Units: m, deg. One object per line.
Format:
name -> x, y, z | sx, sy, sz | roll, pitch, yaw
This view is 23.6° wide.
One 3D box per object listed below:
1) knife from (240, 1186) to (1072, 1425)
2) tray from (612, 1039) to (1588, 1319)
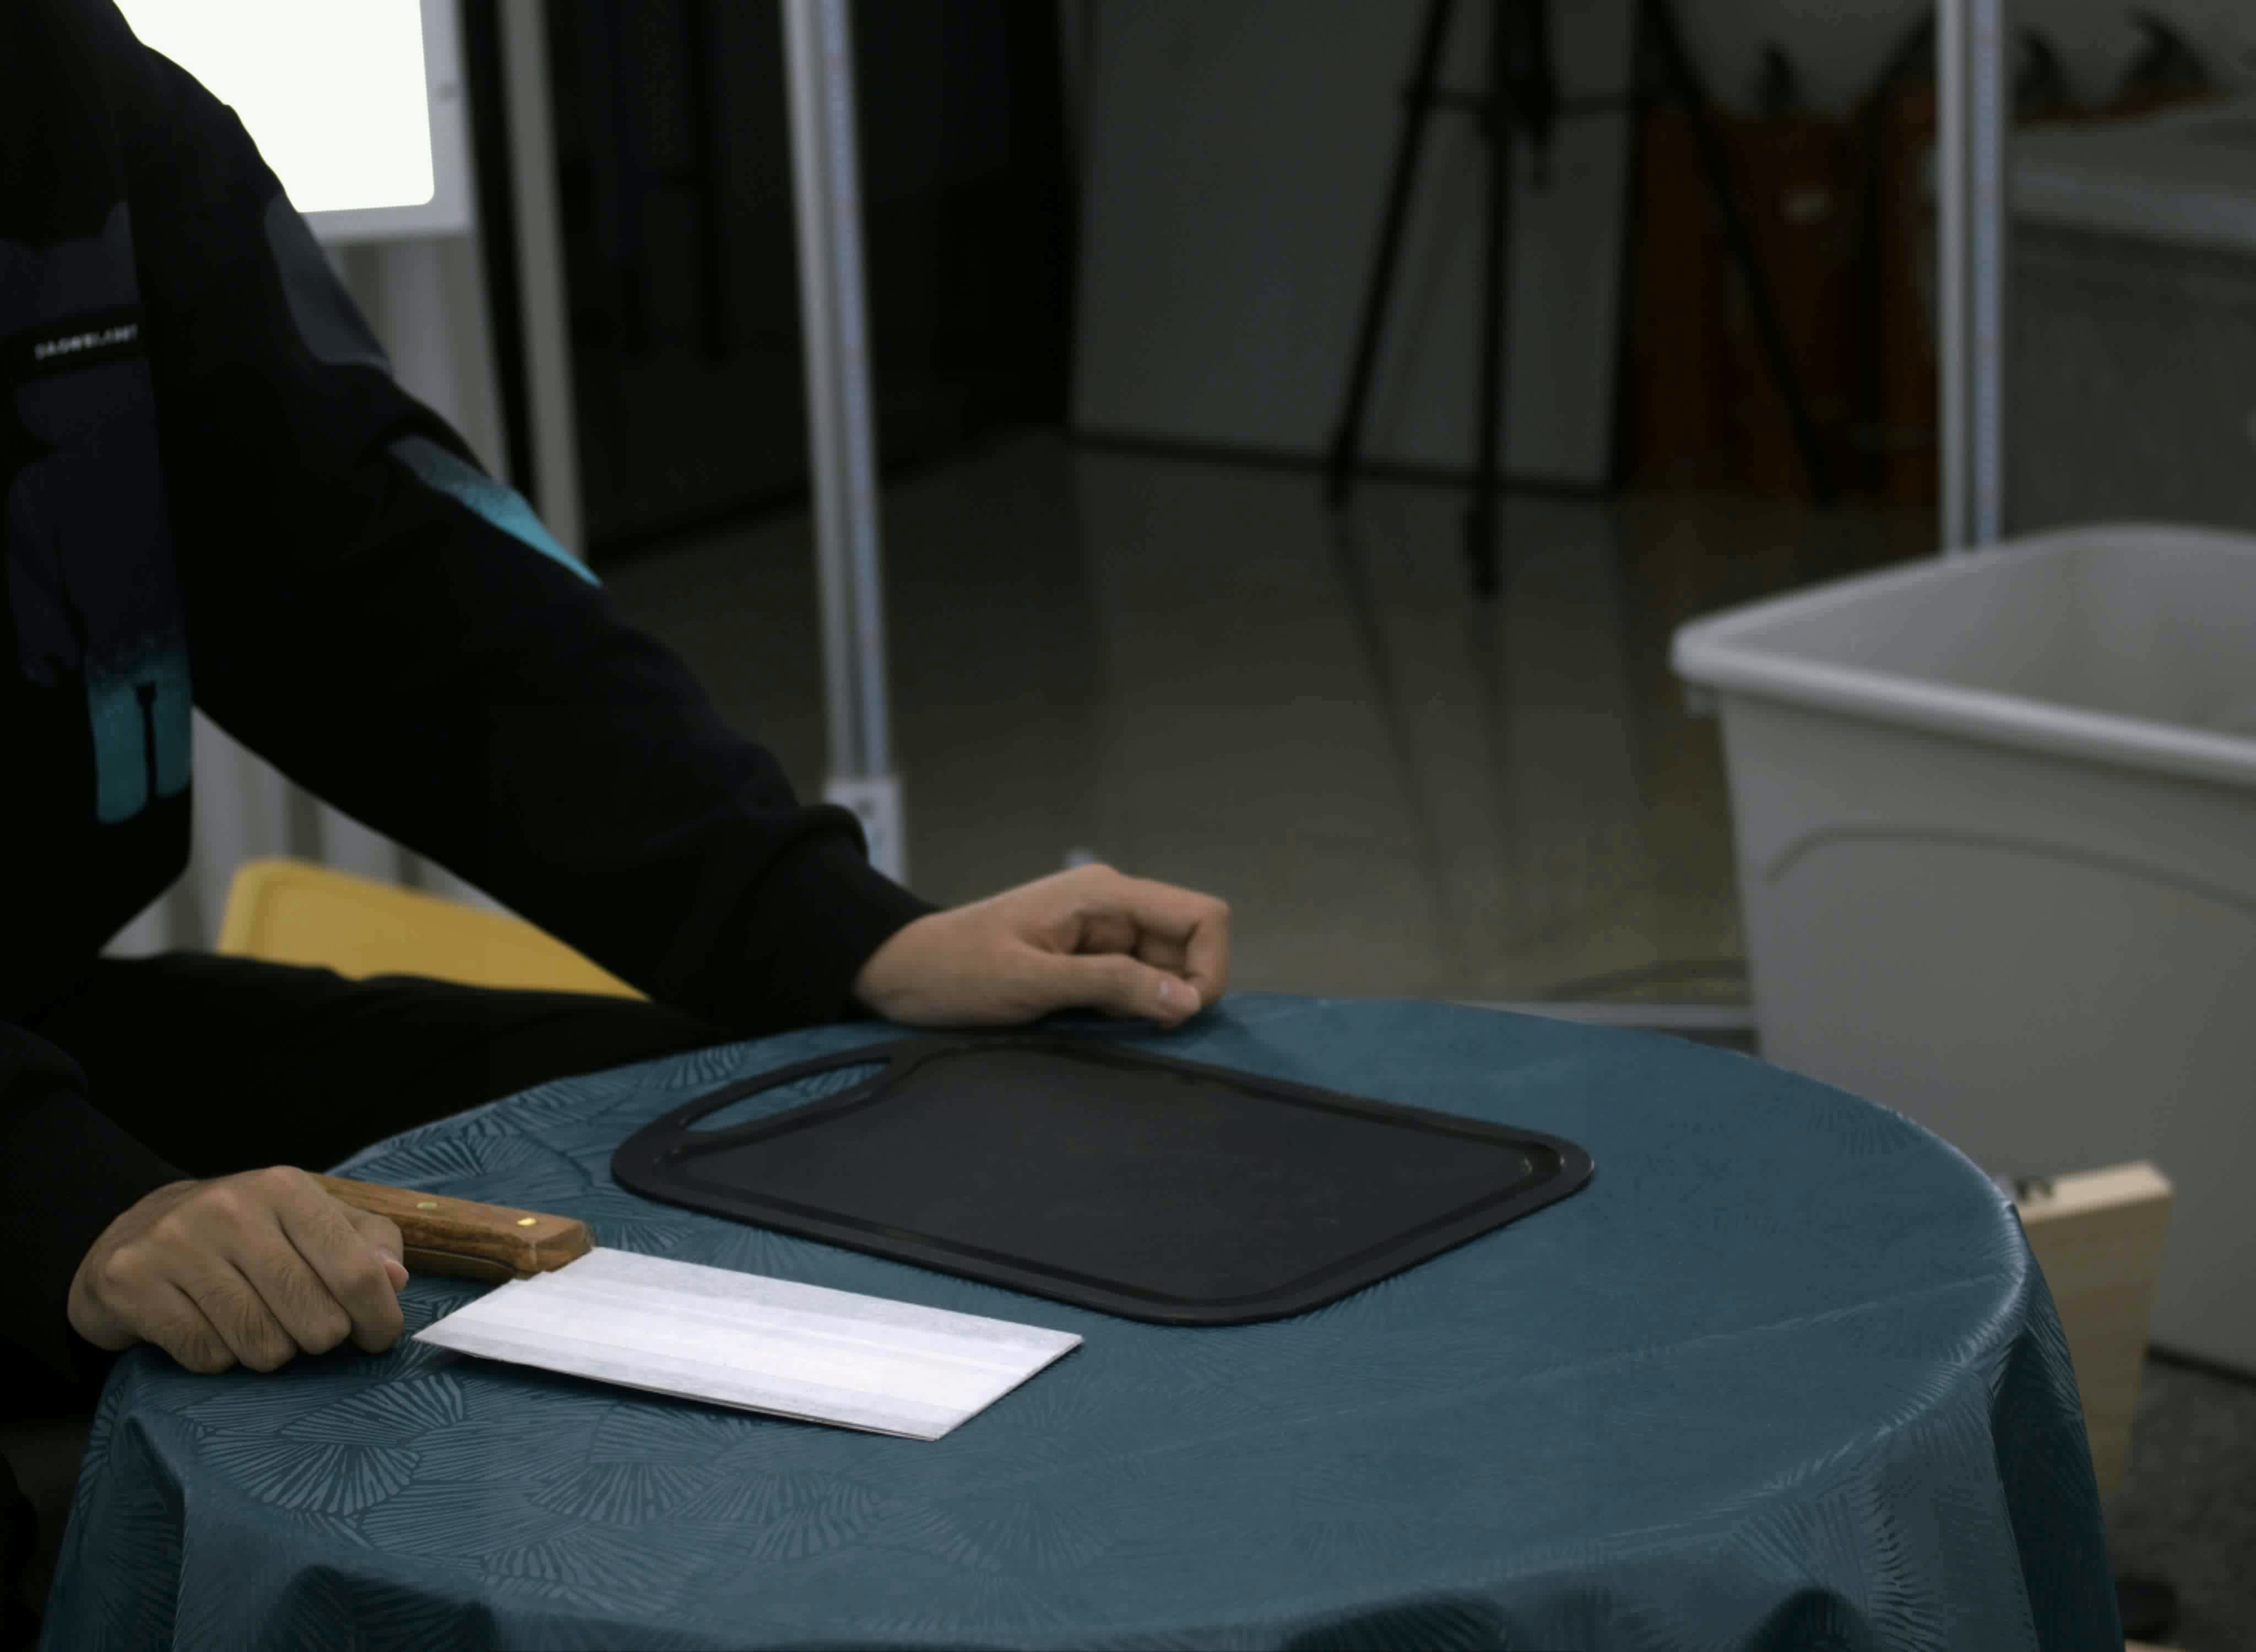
knife -> -0.164, 0.151, 1.670 | 0.307, 0.021, 0.091 | 7, 19, 30
tray -> -0.019, 0.112, 1.799 | 0.328, 0.010, 0.207 | 9, 19, 43
